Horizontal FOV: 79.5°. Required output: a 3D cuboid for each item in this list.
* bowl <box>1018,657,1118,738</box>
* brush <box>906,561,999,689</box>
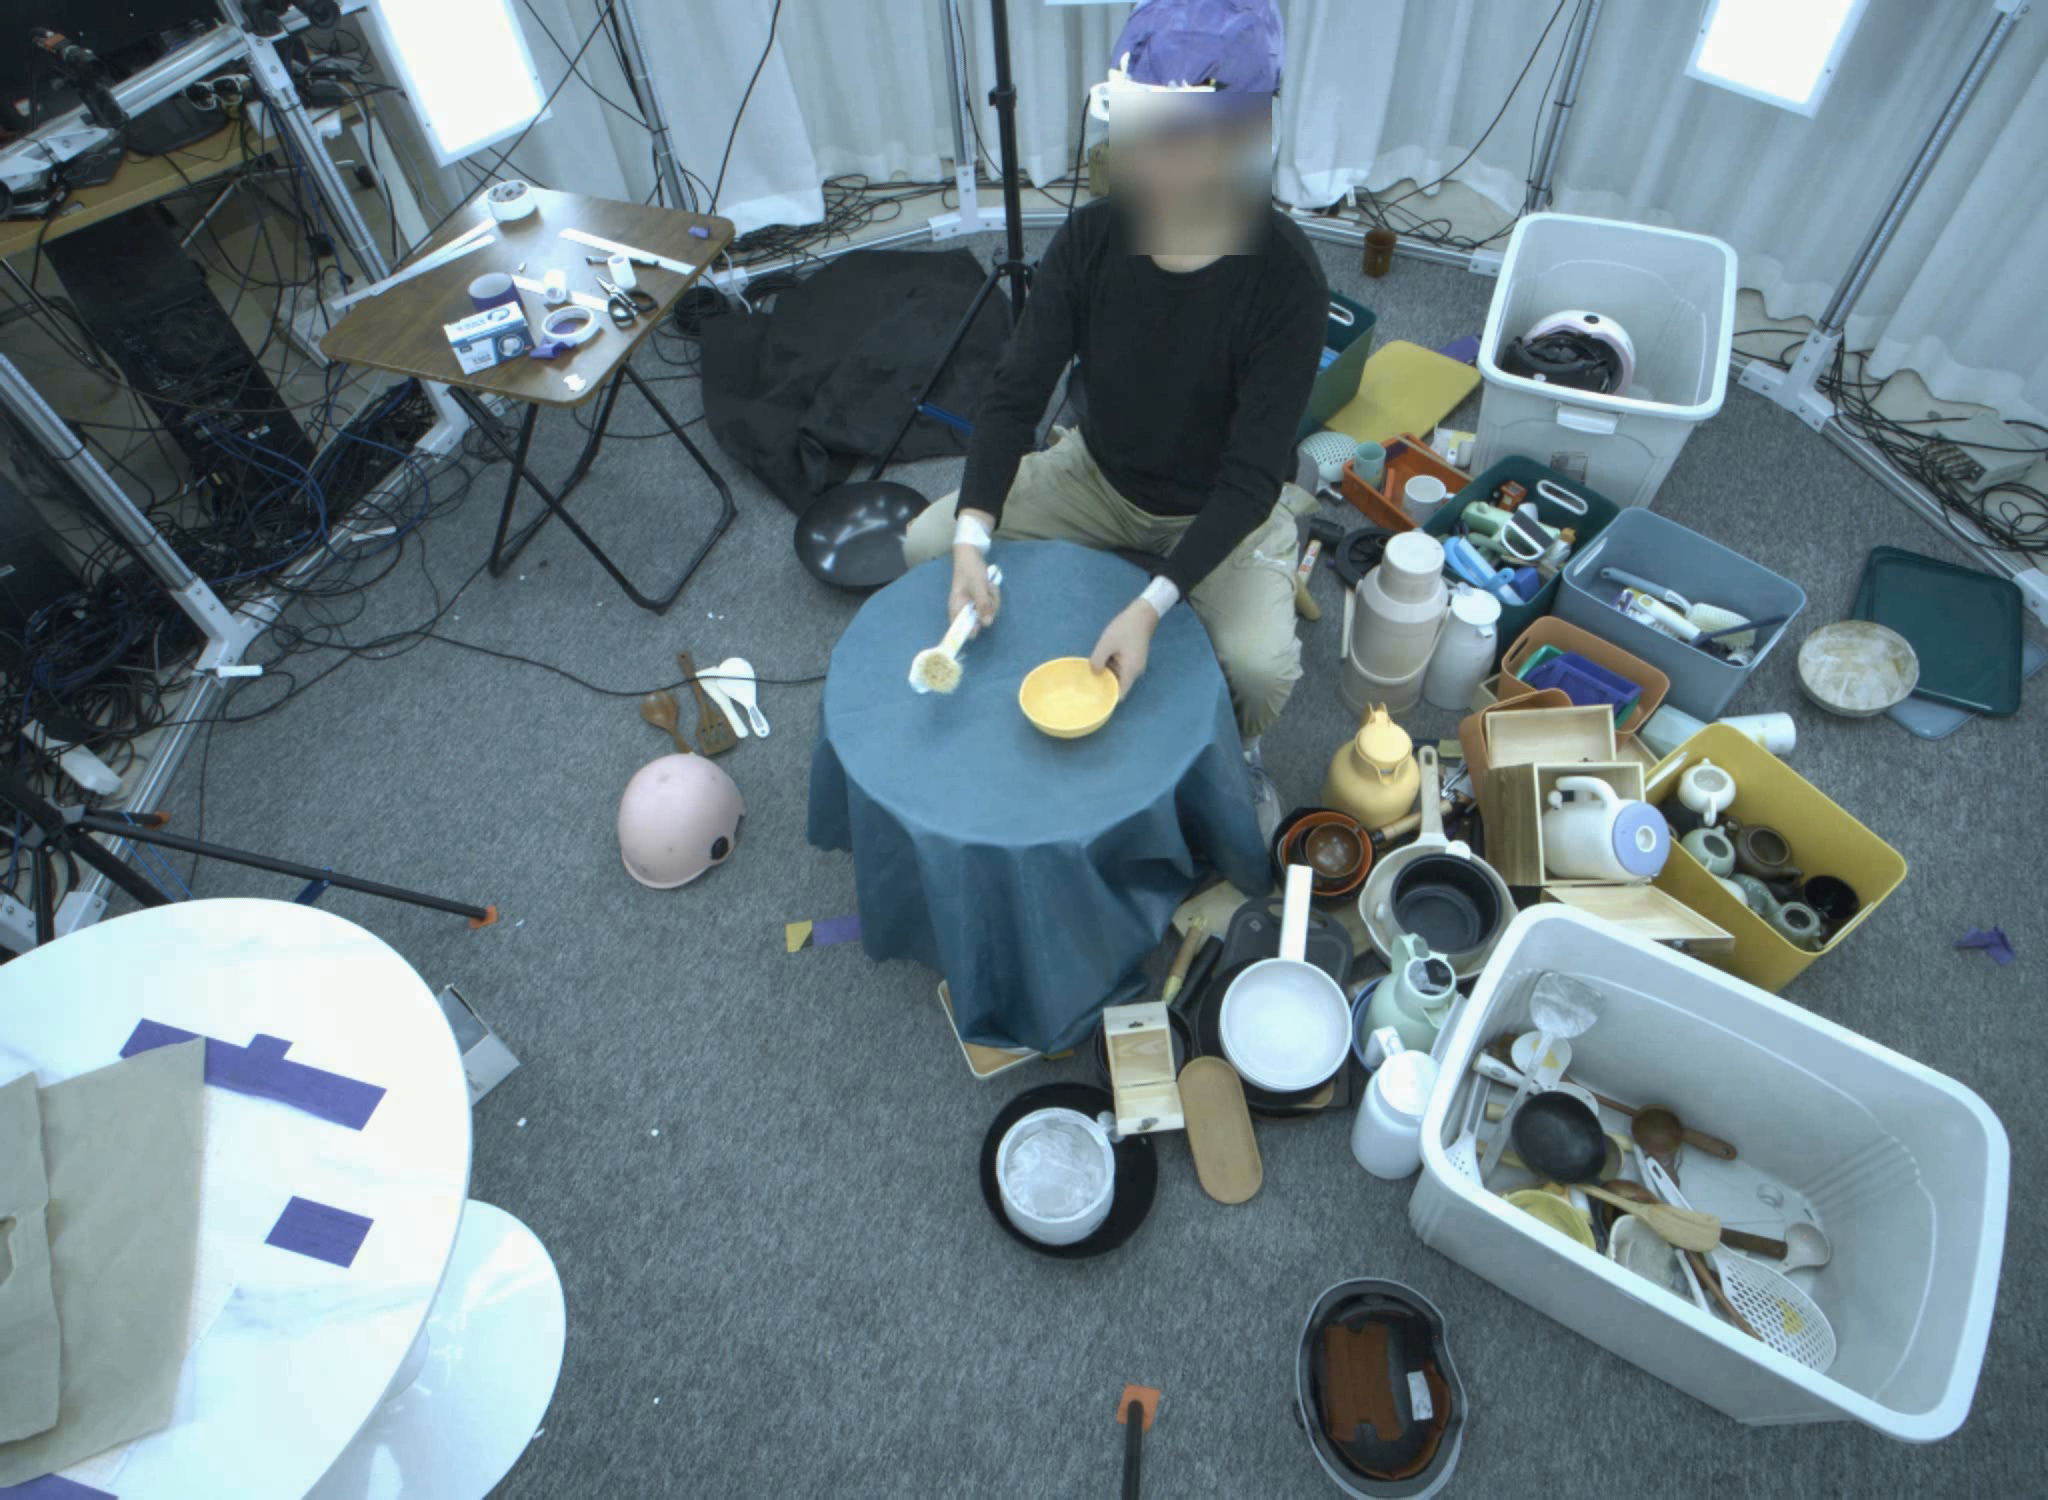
[{"bbox_3d":[0.066,-0.065,1.792,0.145,0.061,0.144,-2,49,3],"label":"bowl"},{"bbox_3d":[-0.089,-0.194,1.827,0.055,0.070,0.267,-2,46,43],"label":"brush"}]
